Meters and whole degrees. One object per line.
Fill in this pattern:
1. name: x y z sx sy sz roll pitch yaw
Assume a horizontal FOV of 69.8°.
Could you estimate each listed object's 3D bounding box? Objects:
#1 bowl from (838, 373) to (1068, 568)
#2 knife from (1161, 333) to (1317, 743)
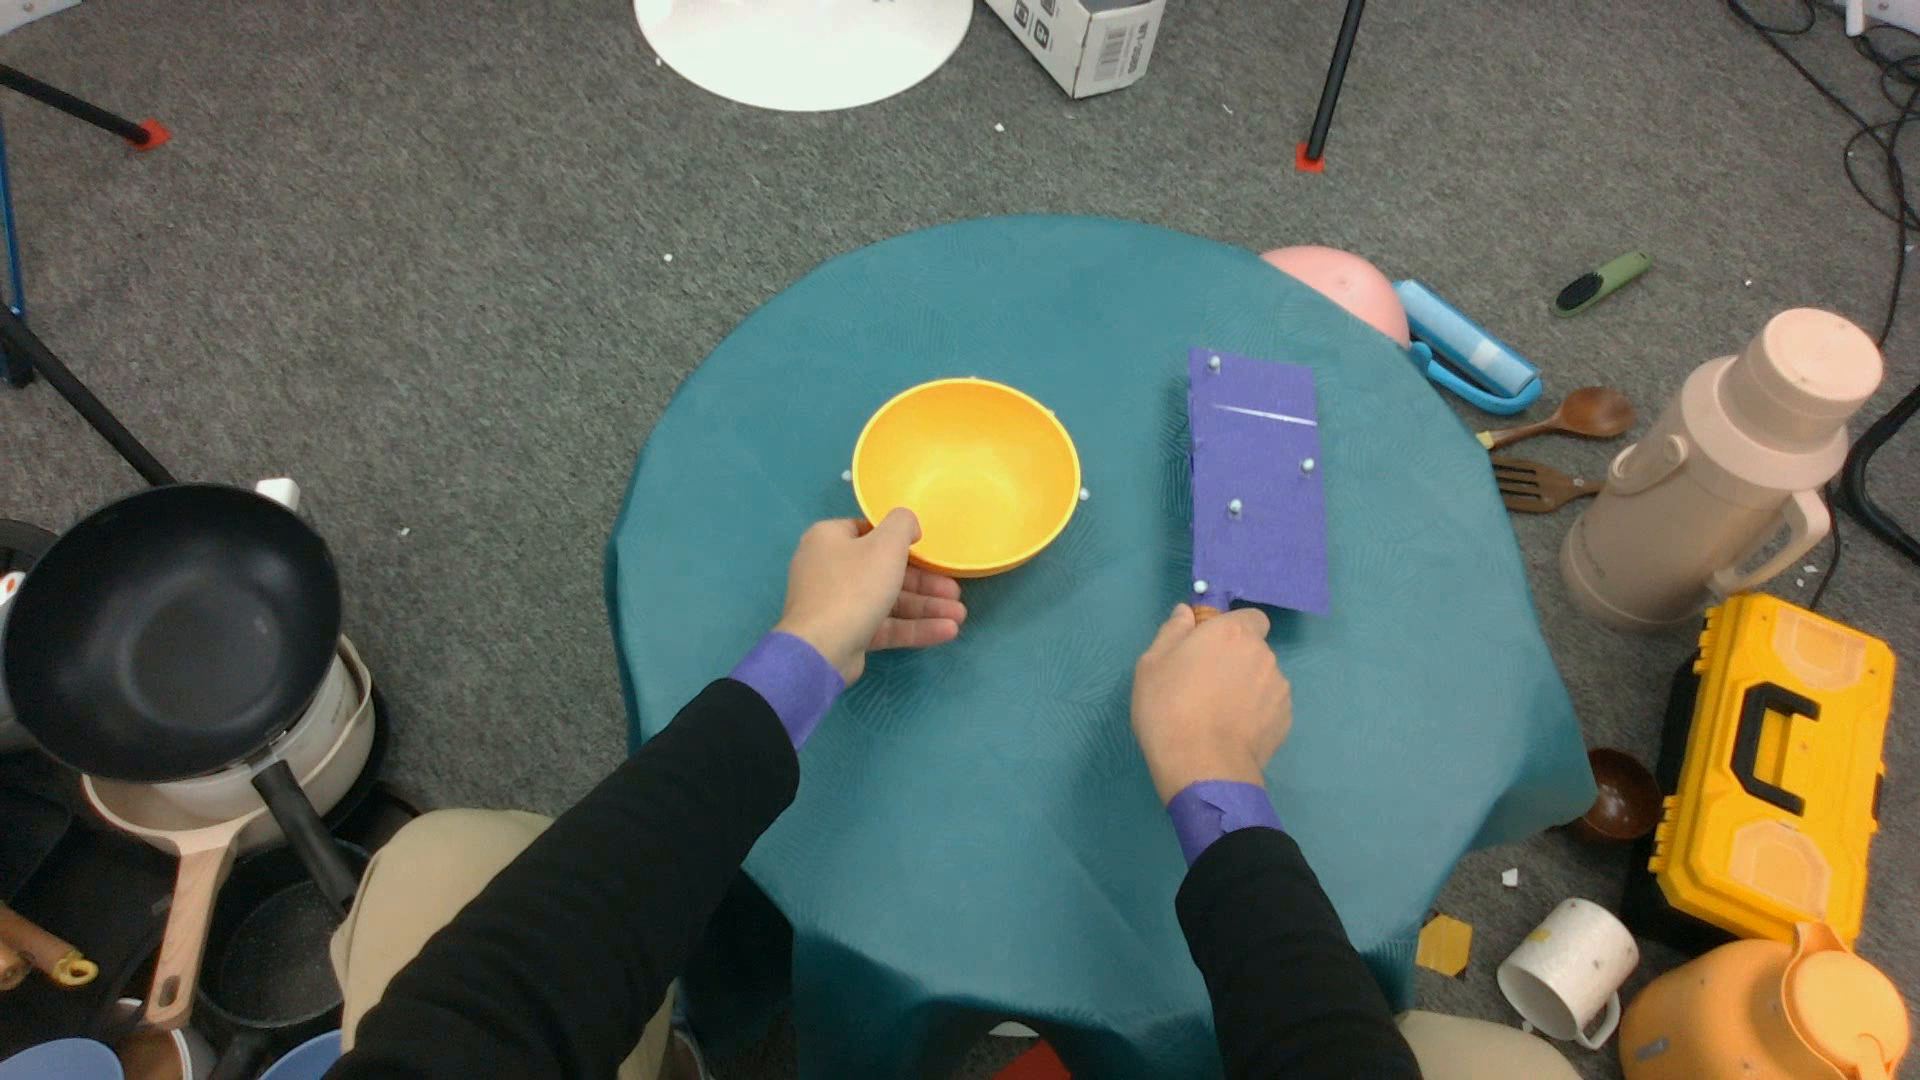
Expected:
1. bowl: -0.005 -0.035 0.889 0.145 0.060 0.146 1 58 -2
2. knife: 0.182 -0.012 0.884 0.104 0.032 0.316 9 55 -6
